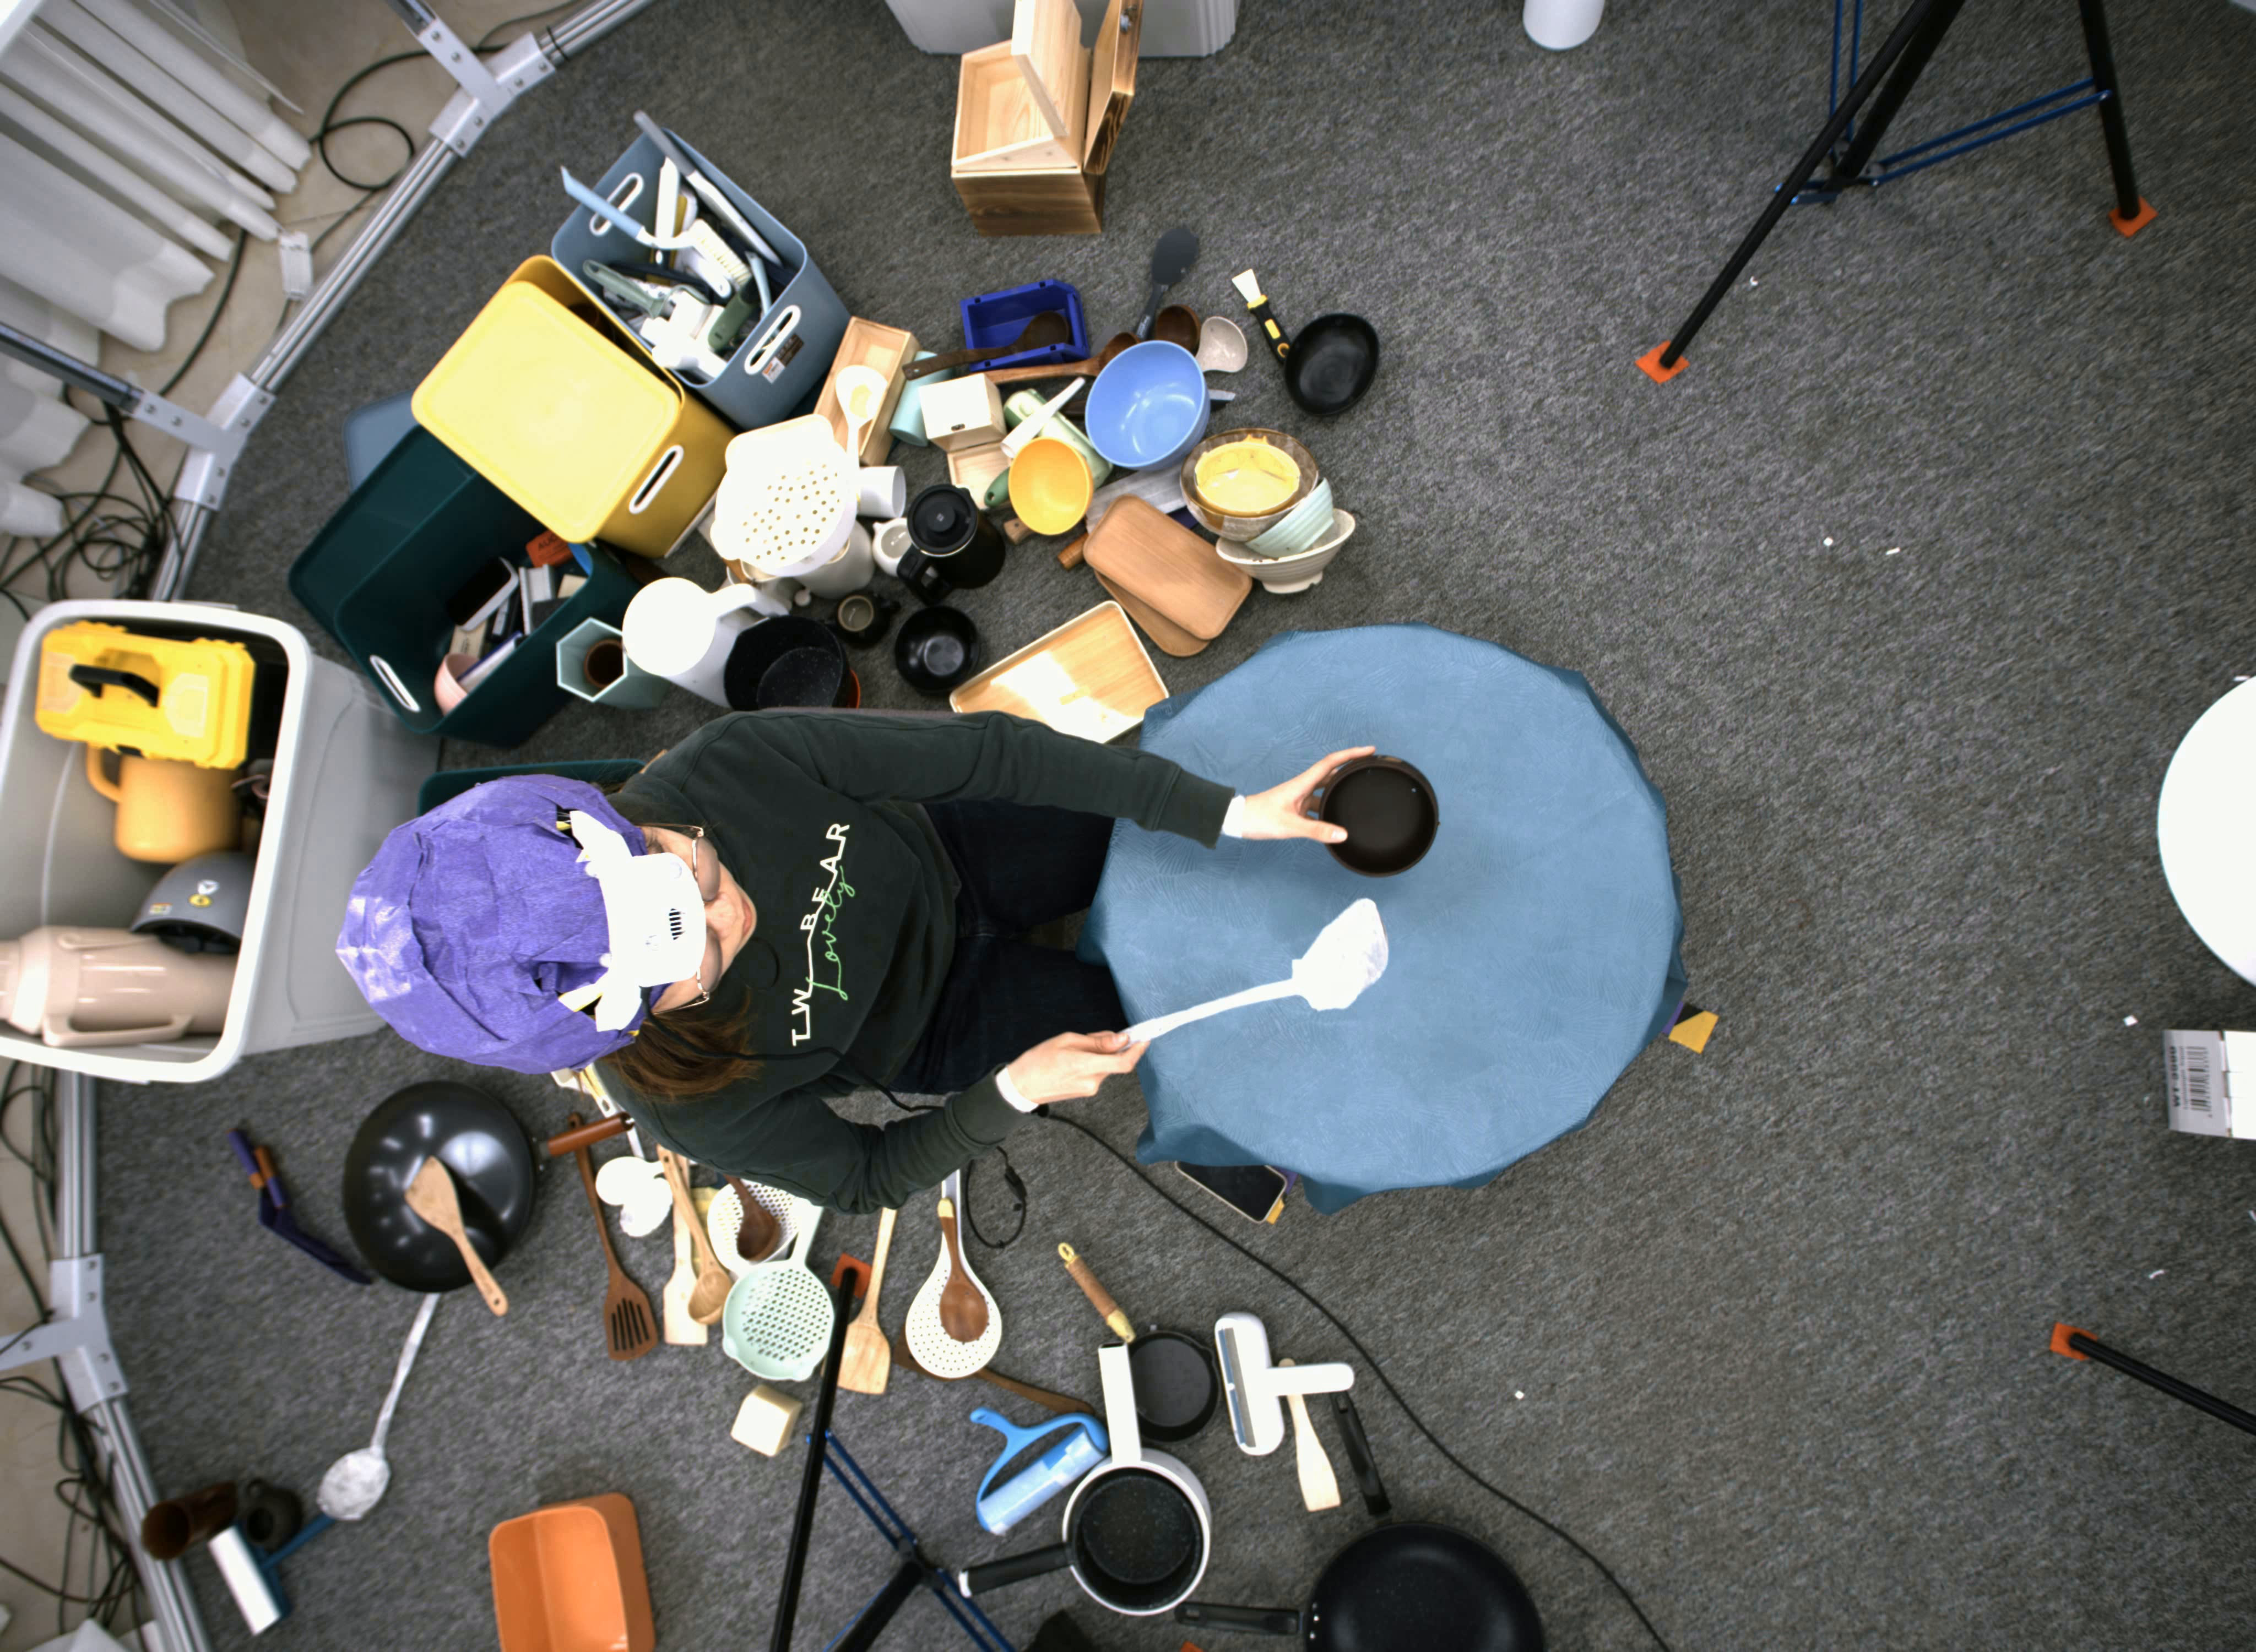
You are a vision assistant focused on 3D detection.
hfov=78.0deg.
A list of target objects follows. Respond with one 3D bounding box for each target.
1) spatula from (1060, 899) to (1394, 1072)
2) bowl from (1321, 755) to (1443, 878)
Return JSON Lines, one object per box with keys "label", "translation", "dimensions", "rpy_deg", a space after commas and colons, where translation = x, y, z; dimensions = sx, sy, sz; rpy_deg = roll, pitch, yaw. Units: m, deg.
{"label": "spatula", "translation": [0.085, 0.169, 1.318], "dimensions": [0.369, 0.045, 0.096], "rpy_deg": [-21, 44, 18]}
{"label": "bowl", "translation": [0.250, -0.014, 1.355], "dimensions": [0.118, 0.068, 0.119], "rpy_deg": [4, 107, 12]}
